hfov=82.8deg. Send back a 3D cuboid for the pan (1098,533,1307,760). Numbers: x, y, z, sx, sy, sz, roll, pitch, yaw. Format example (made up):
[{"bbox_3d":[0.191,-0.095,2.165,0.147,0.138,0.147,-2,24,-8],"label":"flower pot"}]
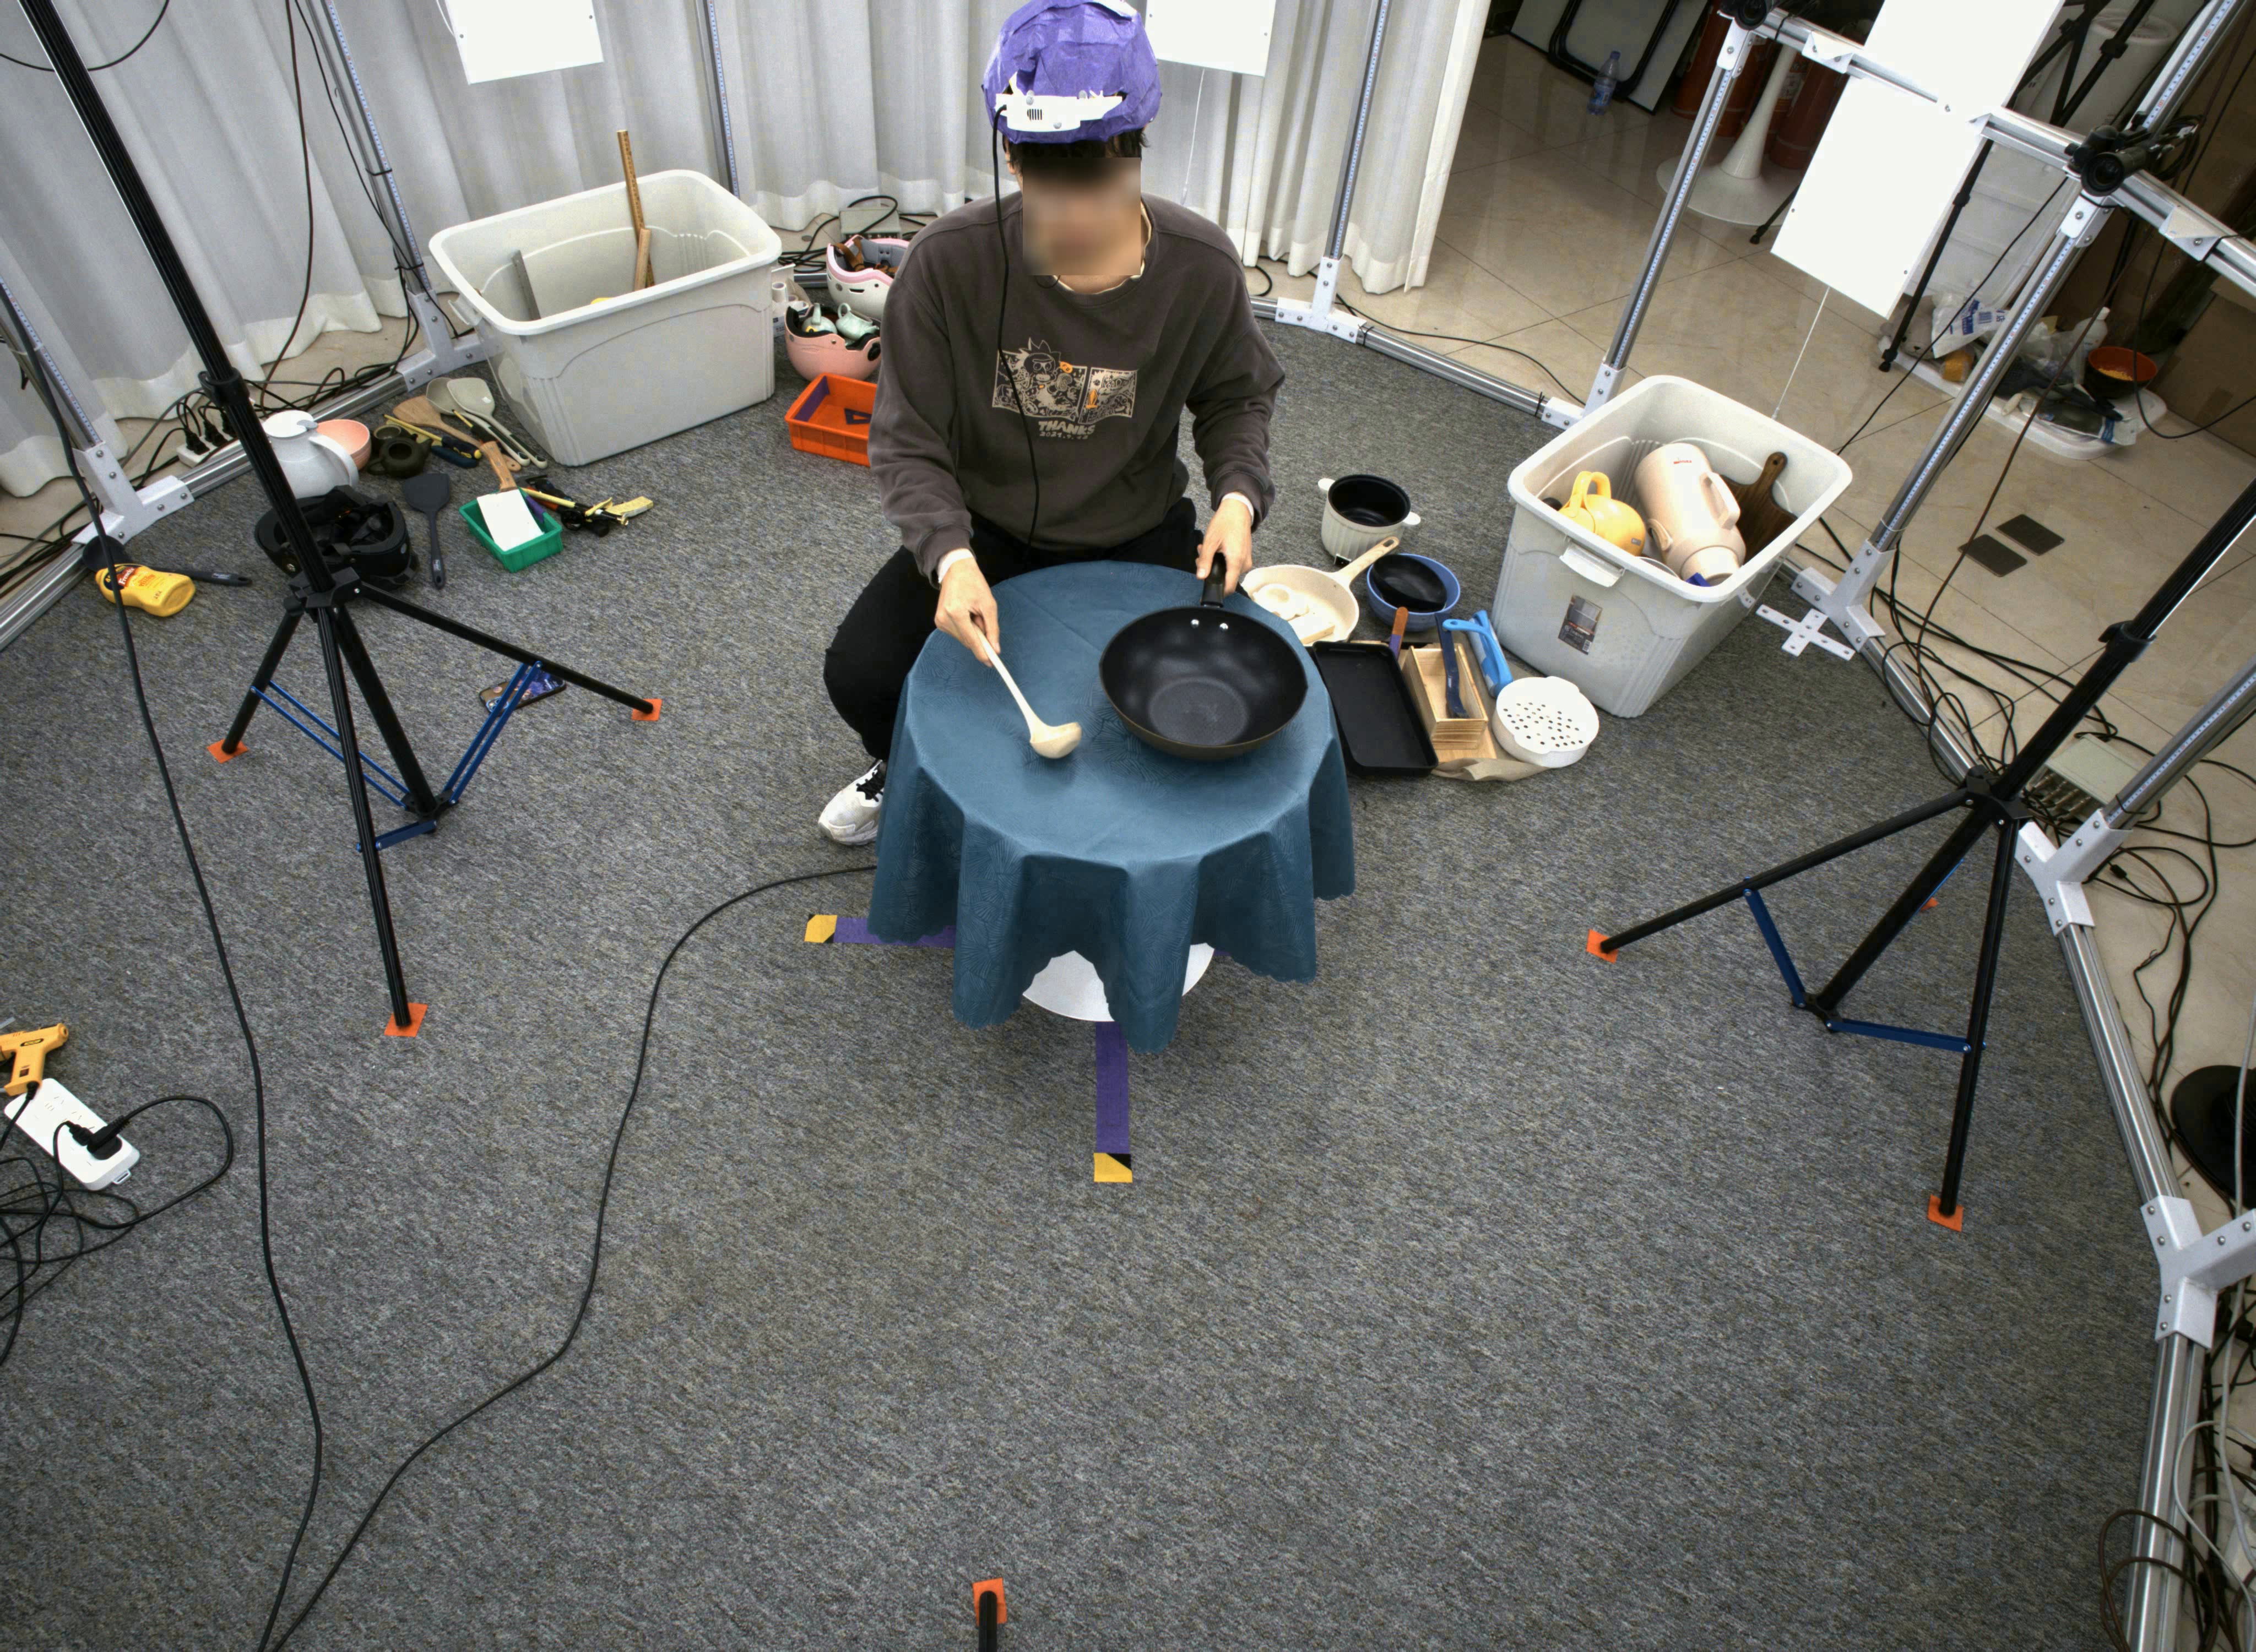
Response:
[{"bbox_3d":[0.111,-0.253,1.839,0.288,0.085,0.474,7,48,3],"label":"pan"}]

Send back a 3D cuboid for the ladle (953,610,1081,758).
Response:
[{"bbox_3d":[-0.153,-0.205,1.725,0.072,0.072,0.256,-30,81,-29],"label":"ladle"}]
